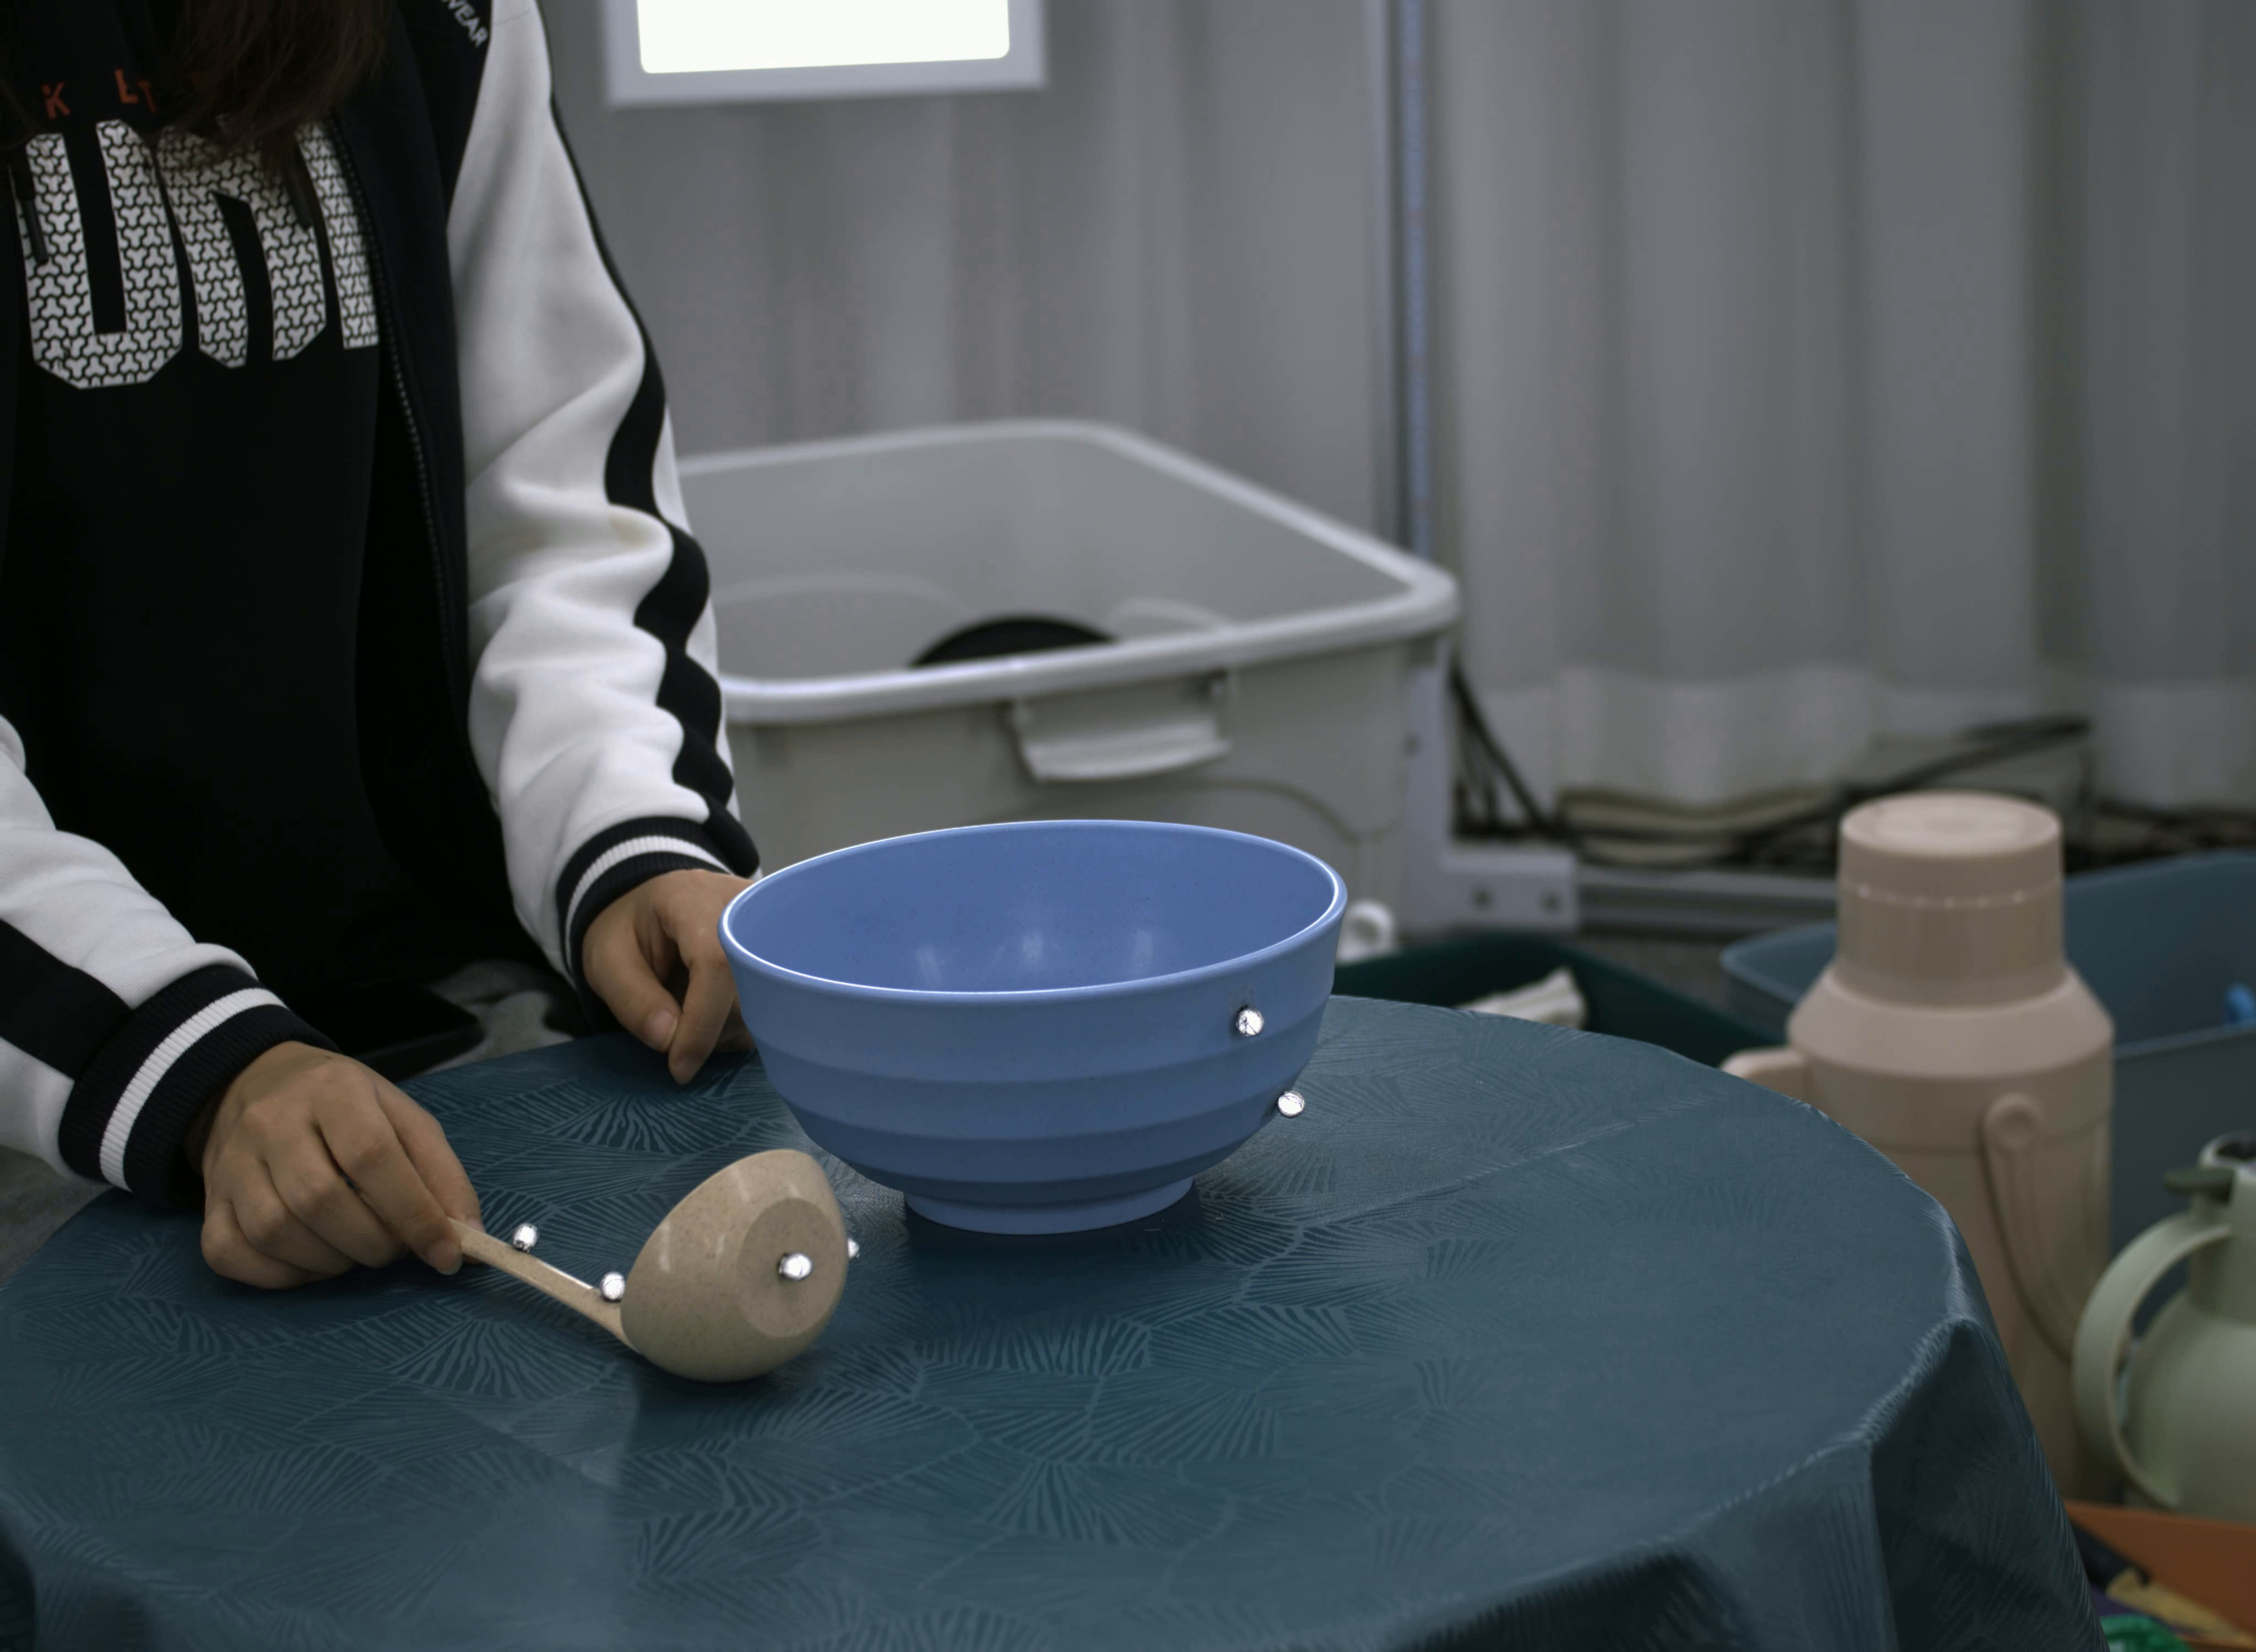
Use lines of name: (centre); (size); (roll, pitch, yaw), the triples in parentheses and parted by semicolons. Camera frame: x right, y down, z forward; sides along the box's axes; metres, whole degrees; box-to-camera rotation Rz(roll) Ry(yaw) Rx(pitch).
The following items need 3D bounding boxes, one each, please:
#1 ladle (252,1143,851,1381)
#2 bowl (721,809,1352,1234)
ladle: (-0.182, 0.106, 1.631); (0.072, 0.072, 0.256); (-9, 16, -44)
bowl: (-0.028, 0.067, 1.711); (0.196, 0.095, 0.198); (-1, 16, 0)
